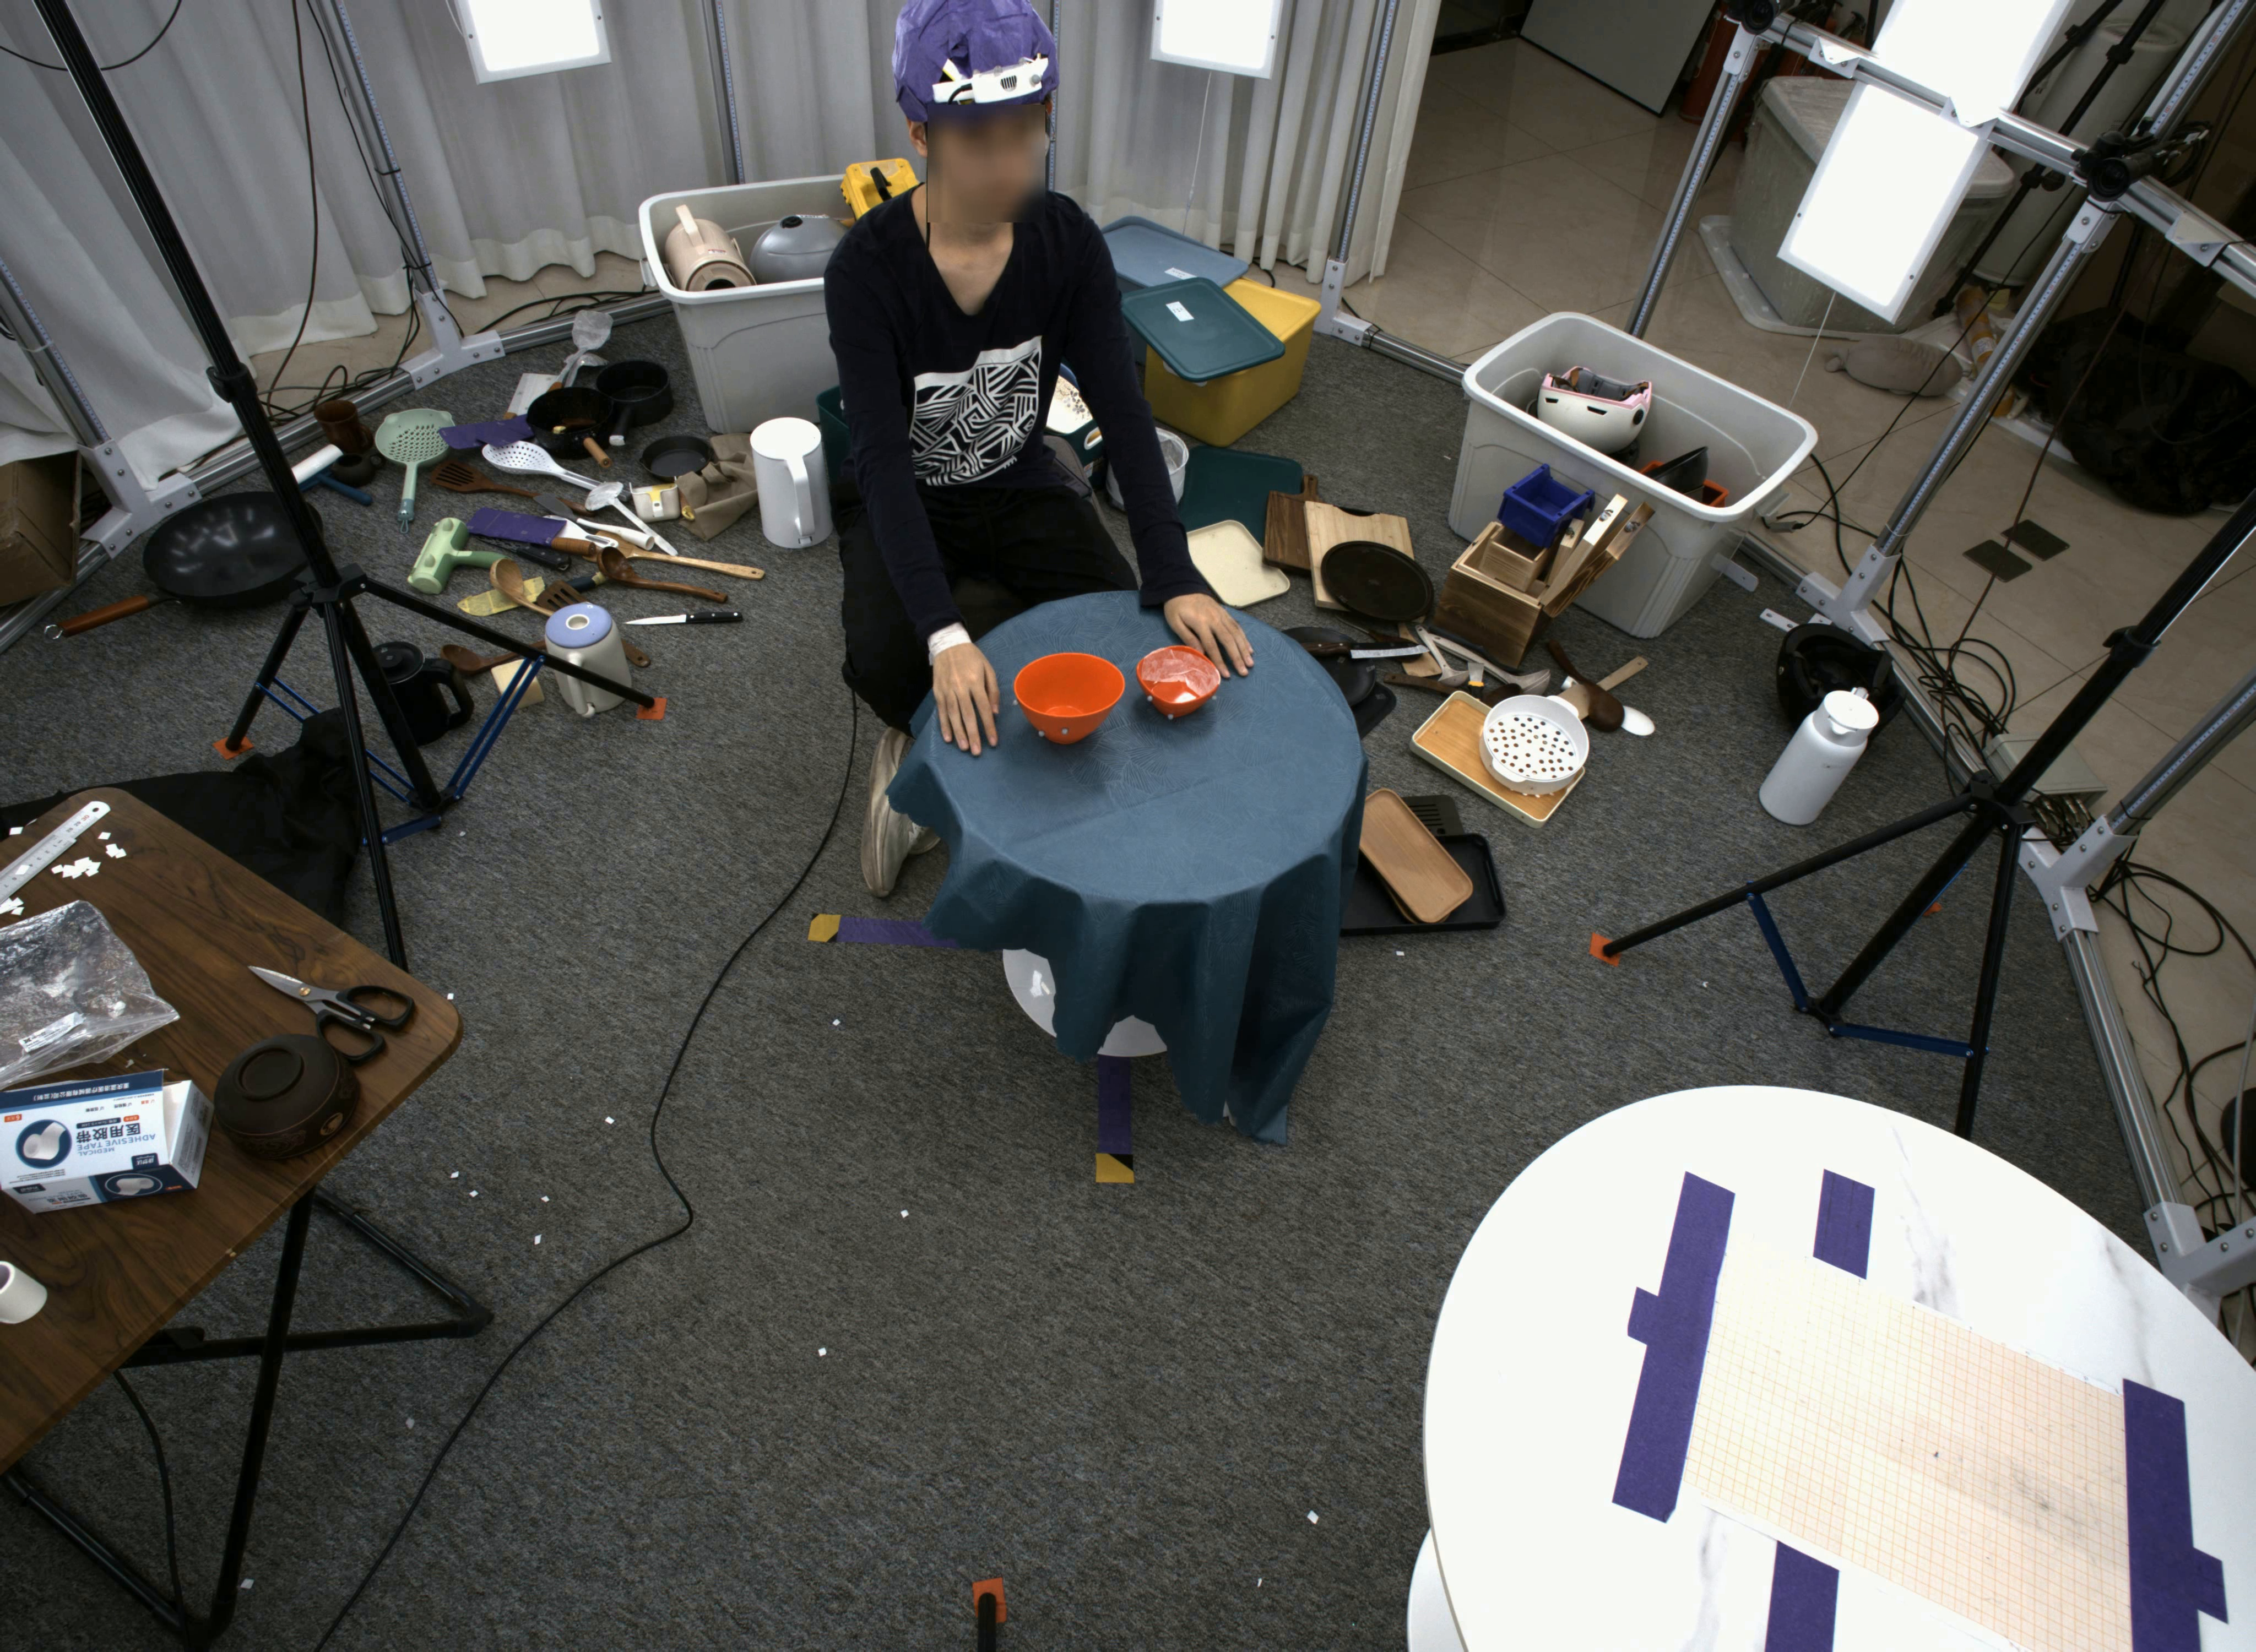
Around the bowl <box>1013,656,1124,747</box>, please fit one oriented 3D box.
[{"bbox_3d":[-0.082,-0.159,1.738,0.148,0.102,0.152,2,47,-2],"label":"bowl"}]

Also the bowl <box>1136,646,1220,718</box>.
[{"bbox_3d":[0.069,-0.198,1.812,0.119,0.050,0.122,1,49,-1],"label":"bowl"}]
